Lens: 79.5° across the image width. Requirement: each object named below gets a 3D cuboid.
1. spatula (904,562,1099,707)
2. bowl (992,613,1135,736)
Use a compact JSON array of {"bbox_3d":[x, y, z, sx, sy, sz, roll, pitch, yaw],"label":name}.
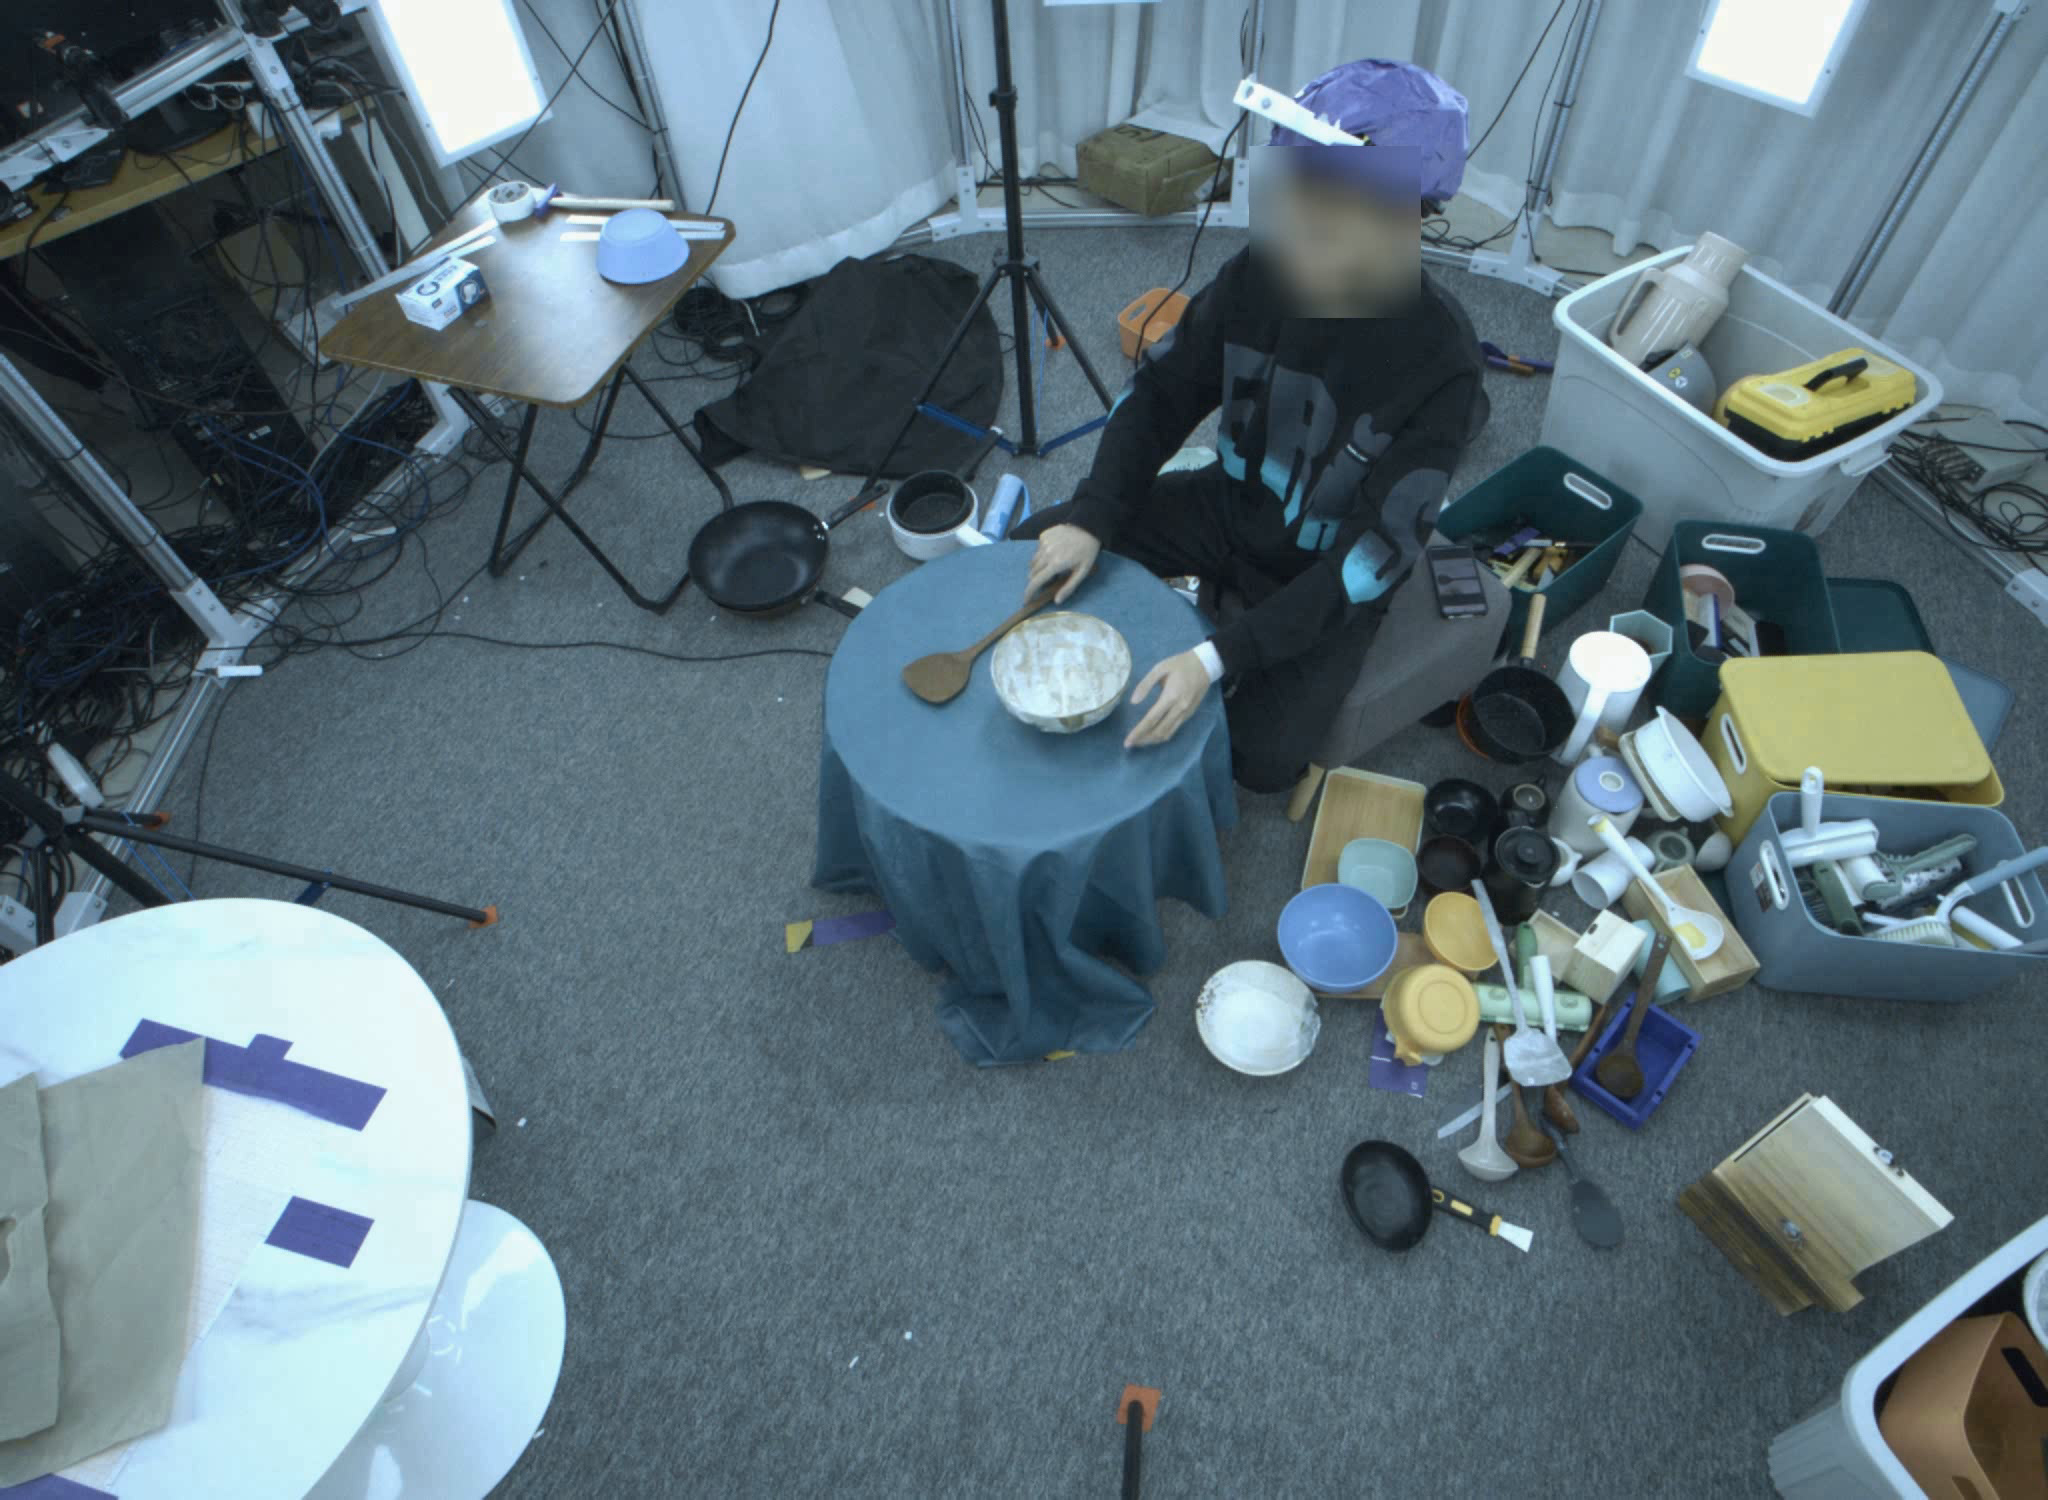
[{"bbox_3d":[-0.023,-0.192,1.925,0.389,0.016,0.094,-39,63,-23],"label":"spatula"},{"bbox_3d":[0.061,-0.094,1.804,0.214,0.095,0.212,-1,53,2],"label":"bowl"}]
